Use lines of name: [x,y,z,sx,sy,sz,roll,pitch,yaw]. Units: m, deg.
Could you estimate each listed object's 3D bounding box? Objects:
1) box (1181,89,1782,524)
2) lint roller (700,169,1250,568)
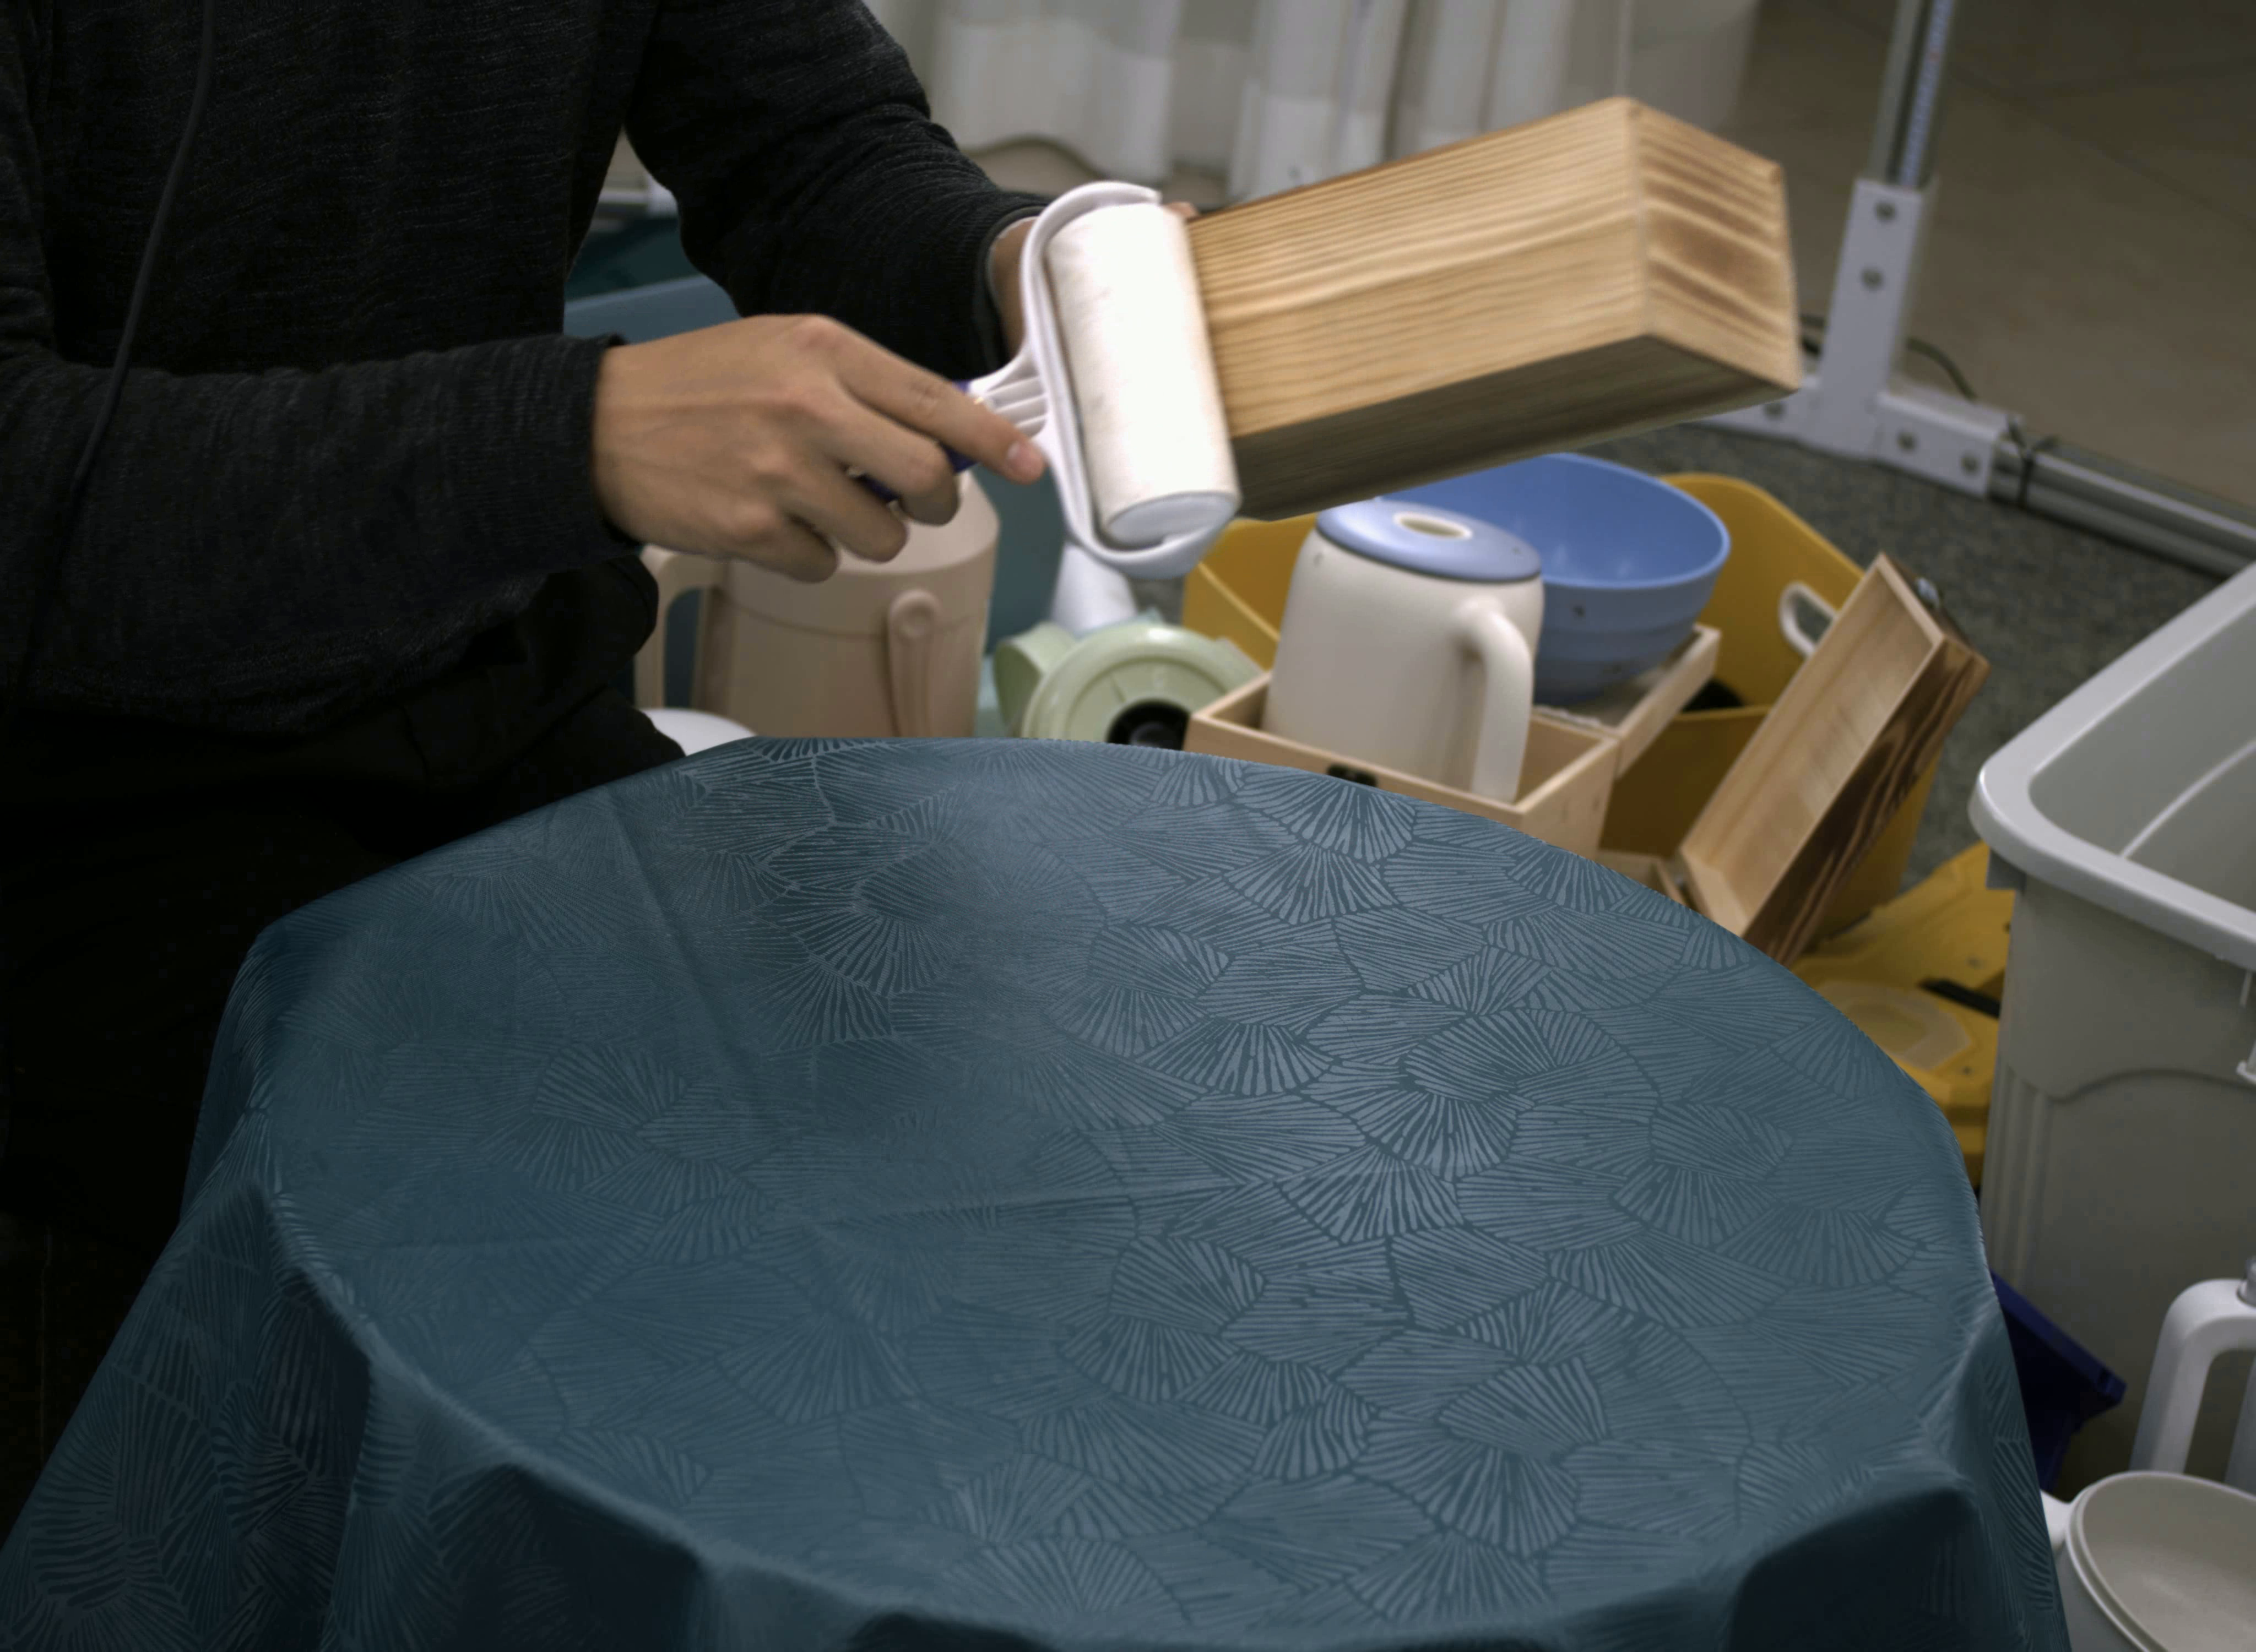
box: [0.096,-0.168,1.761,0.212,0.080,0.106,-13,-14,34]
lint roller: [-0.056,-0.137,1.737,0.180,0.134,0.050,-11,-15,5]
